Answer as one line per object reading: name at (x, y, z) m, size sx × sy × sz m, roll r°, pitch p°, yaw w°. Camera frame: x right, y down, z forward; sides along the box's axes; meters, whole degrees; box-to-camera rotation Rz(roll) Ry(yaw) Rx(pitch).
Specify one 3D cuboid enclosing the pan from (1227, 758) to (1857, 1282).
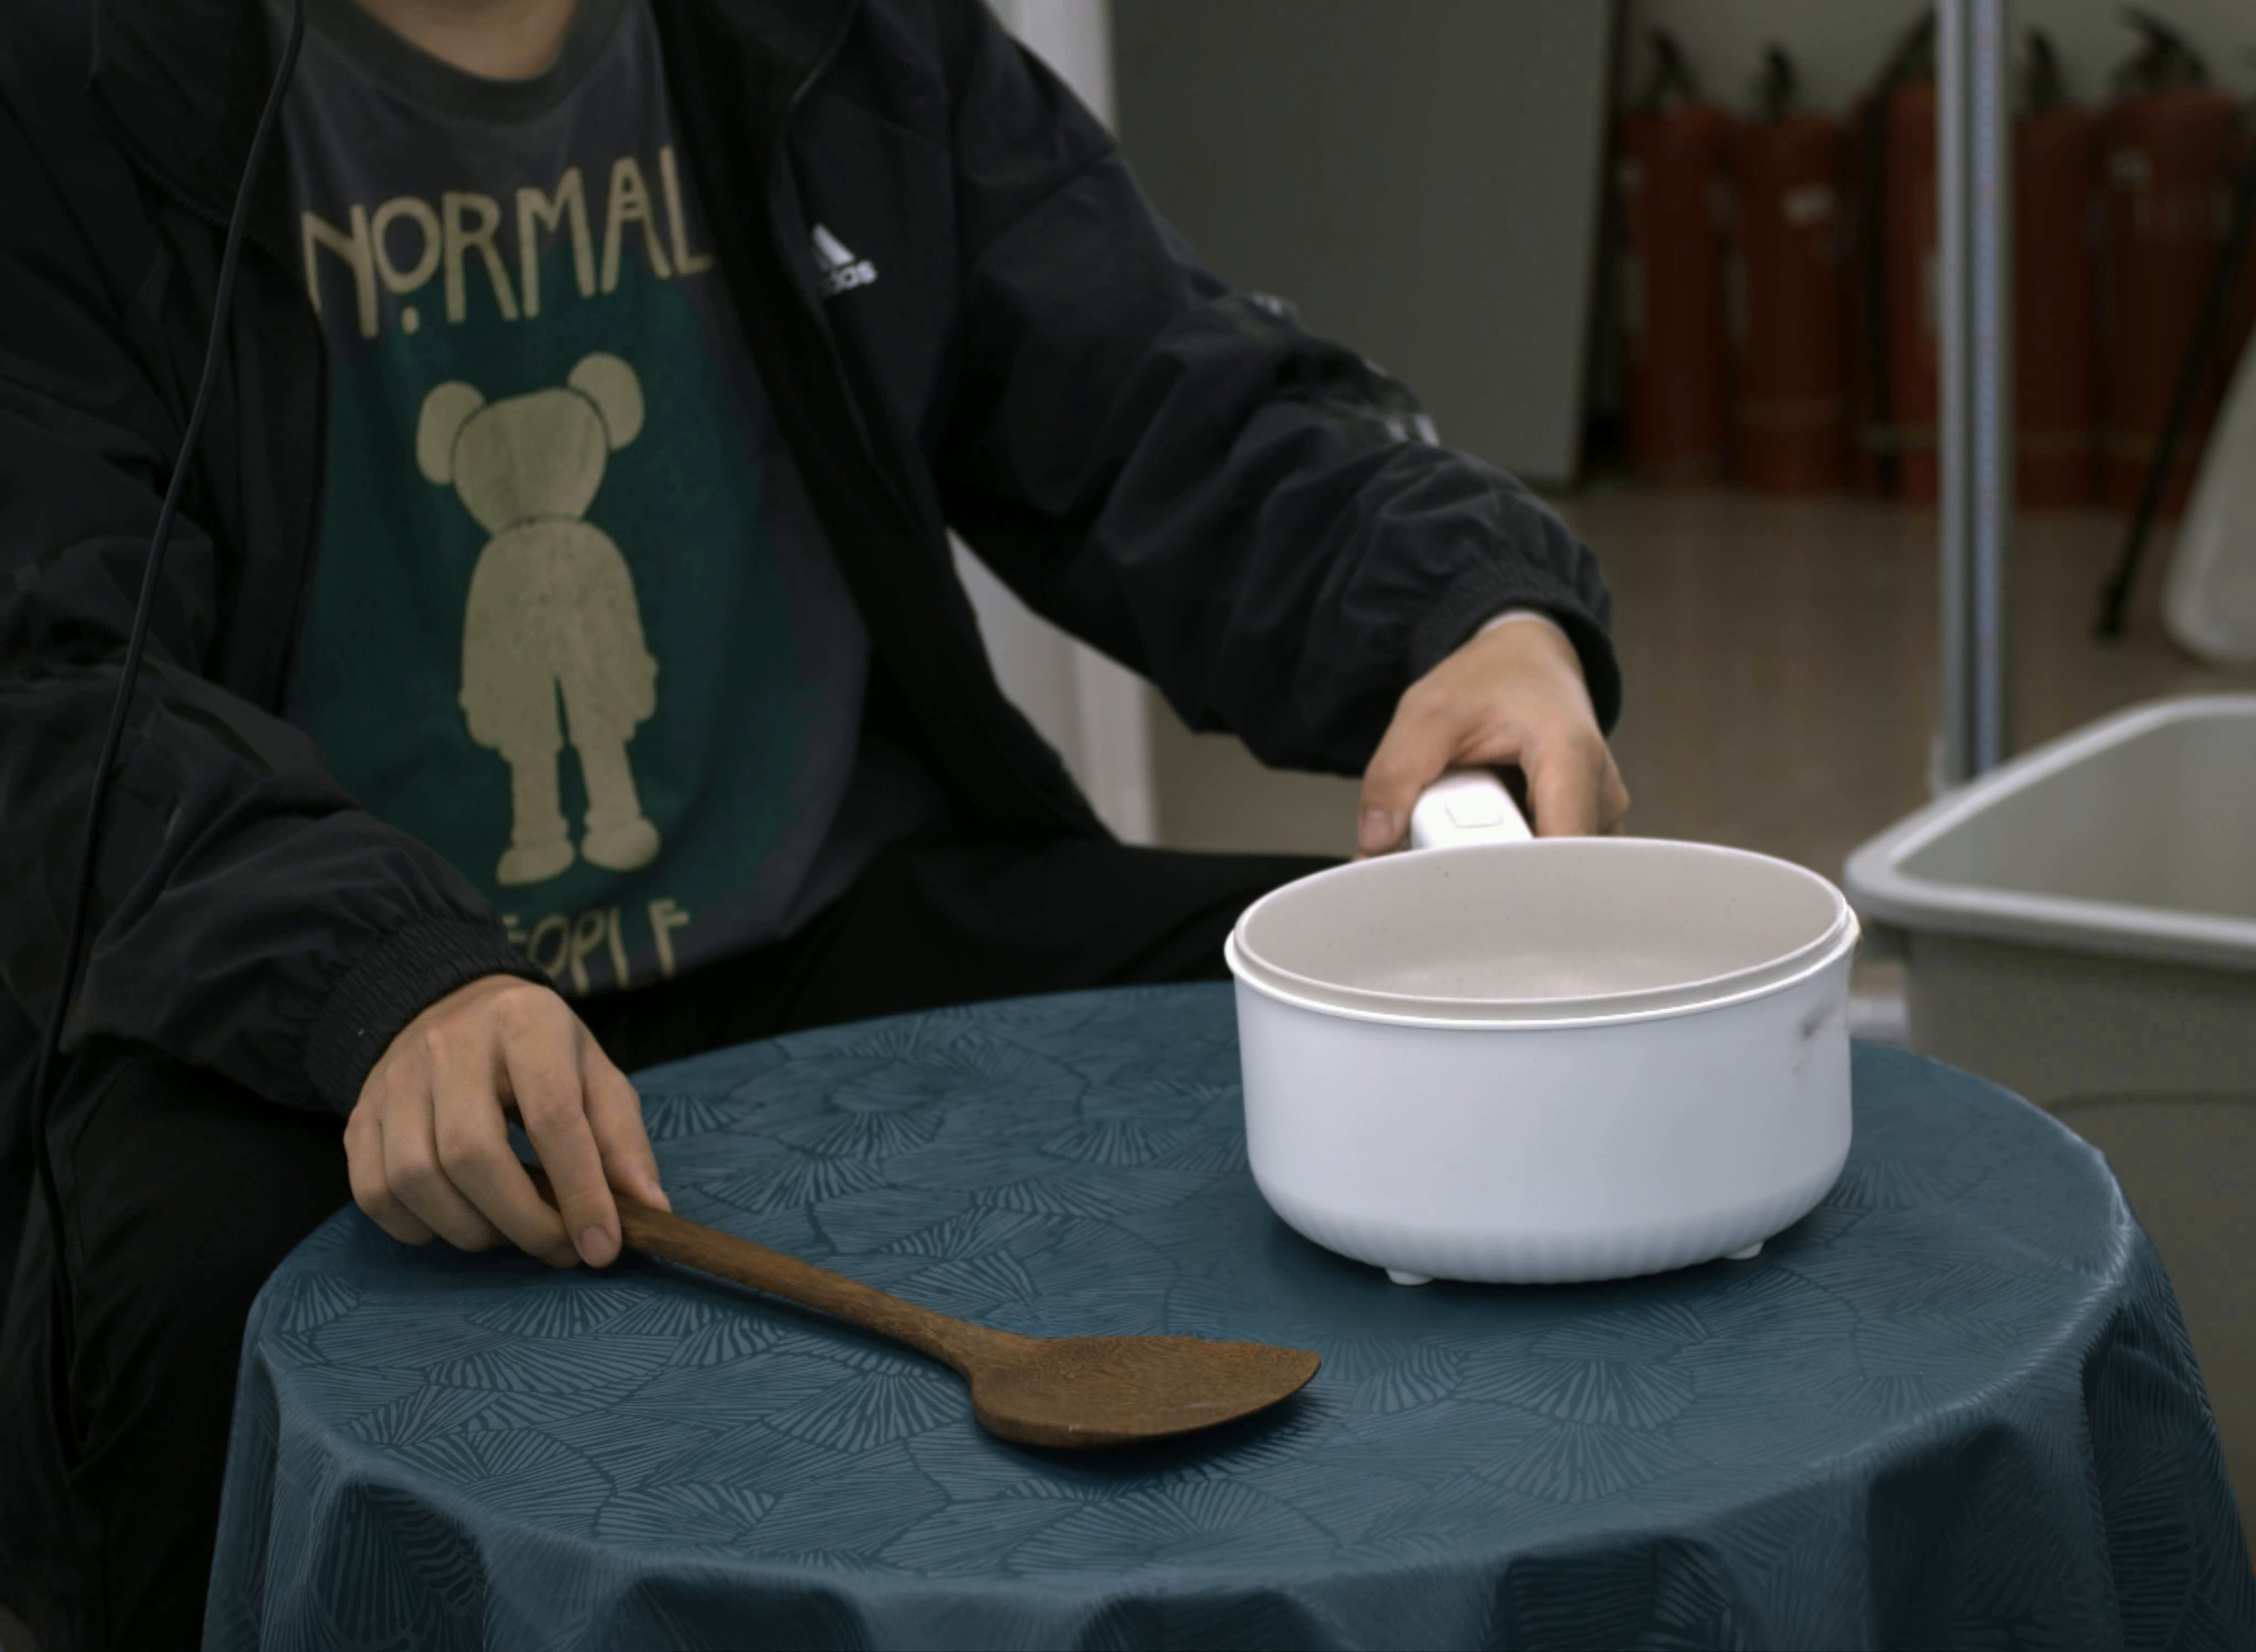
pan at (0.128, 0.059, 1.782) m, size 0.198 × 0.103 × 0.355 m, roll -5°, pitch 12°, yaw -2°

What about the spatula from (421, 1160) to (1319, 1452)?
spatula at (-0.099, 0.143, 1.670) m, size 0.094 × 0.016 × 0.390 m, roll -15°, pitch 19°, yaw -41°
